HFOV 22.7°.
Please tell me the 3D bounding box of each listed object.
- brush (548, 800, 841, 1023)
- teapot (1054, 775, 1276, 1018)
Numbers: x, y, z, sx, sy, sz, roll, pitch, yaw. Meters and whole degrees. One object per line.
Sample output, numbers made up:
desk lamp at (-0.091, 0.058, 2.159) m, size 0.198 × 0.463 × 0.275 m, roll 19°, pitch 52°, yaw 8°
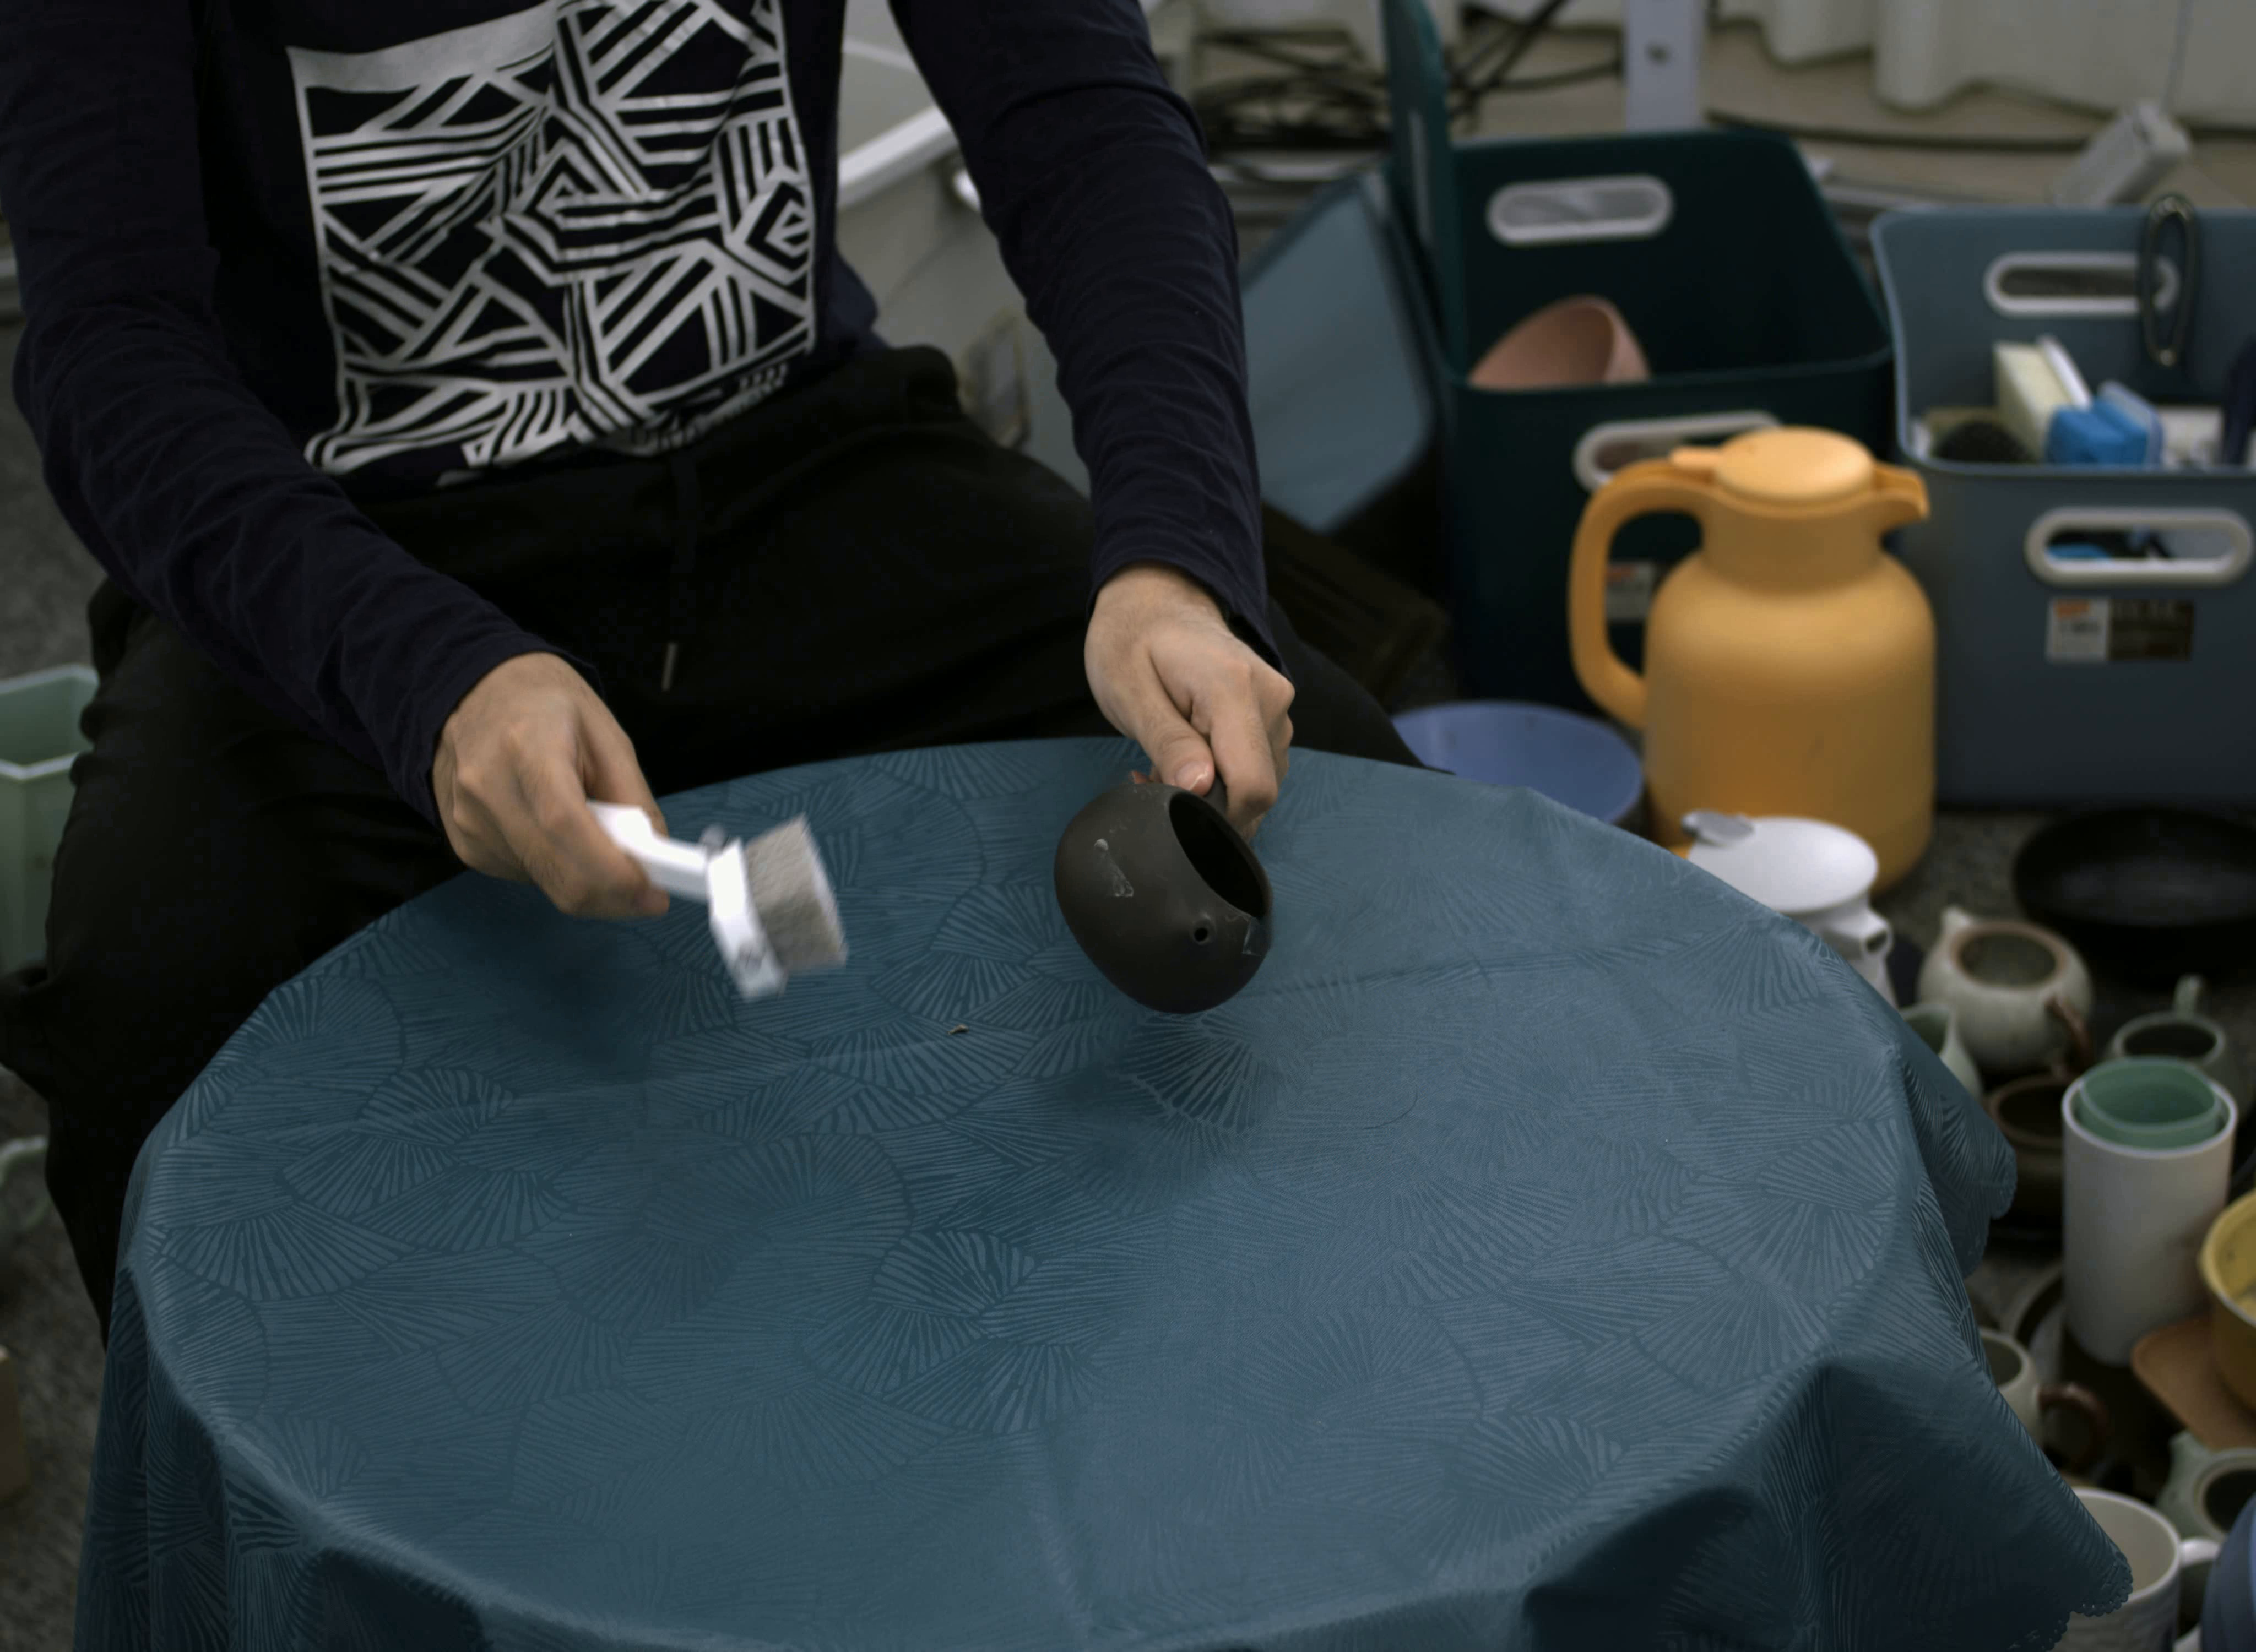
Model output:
brush at (-0.147, 0.014, 1.913) m, size 0.050 × 0.034 × 0.244 m, roll -40°, pitch 23°, yaw -7°
teapot at (0.014, 0.018, 1.911) m, size 0.052 × 0.082 × 0.116 m, roll -39°, pitch 20°, yaw 23°
